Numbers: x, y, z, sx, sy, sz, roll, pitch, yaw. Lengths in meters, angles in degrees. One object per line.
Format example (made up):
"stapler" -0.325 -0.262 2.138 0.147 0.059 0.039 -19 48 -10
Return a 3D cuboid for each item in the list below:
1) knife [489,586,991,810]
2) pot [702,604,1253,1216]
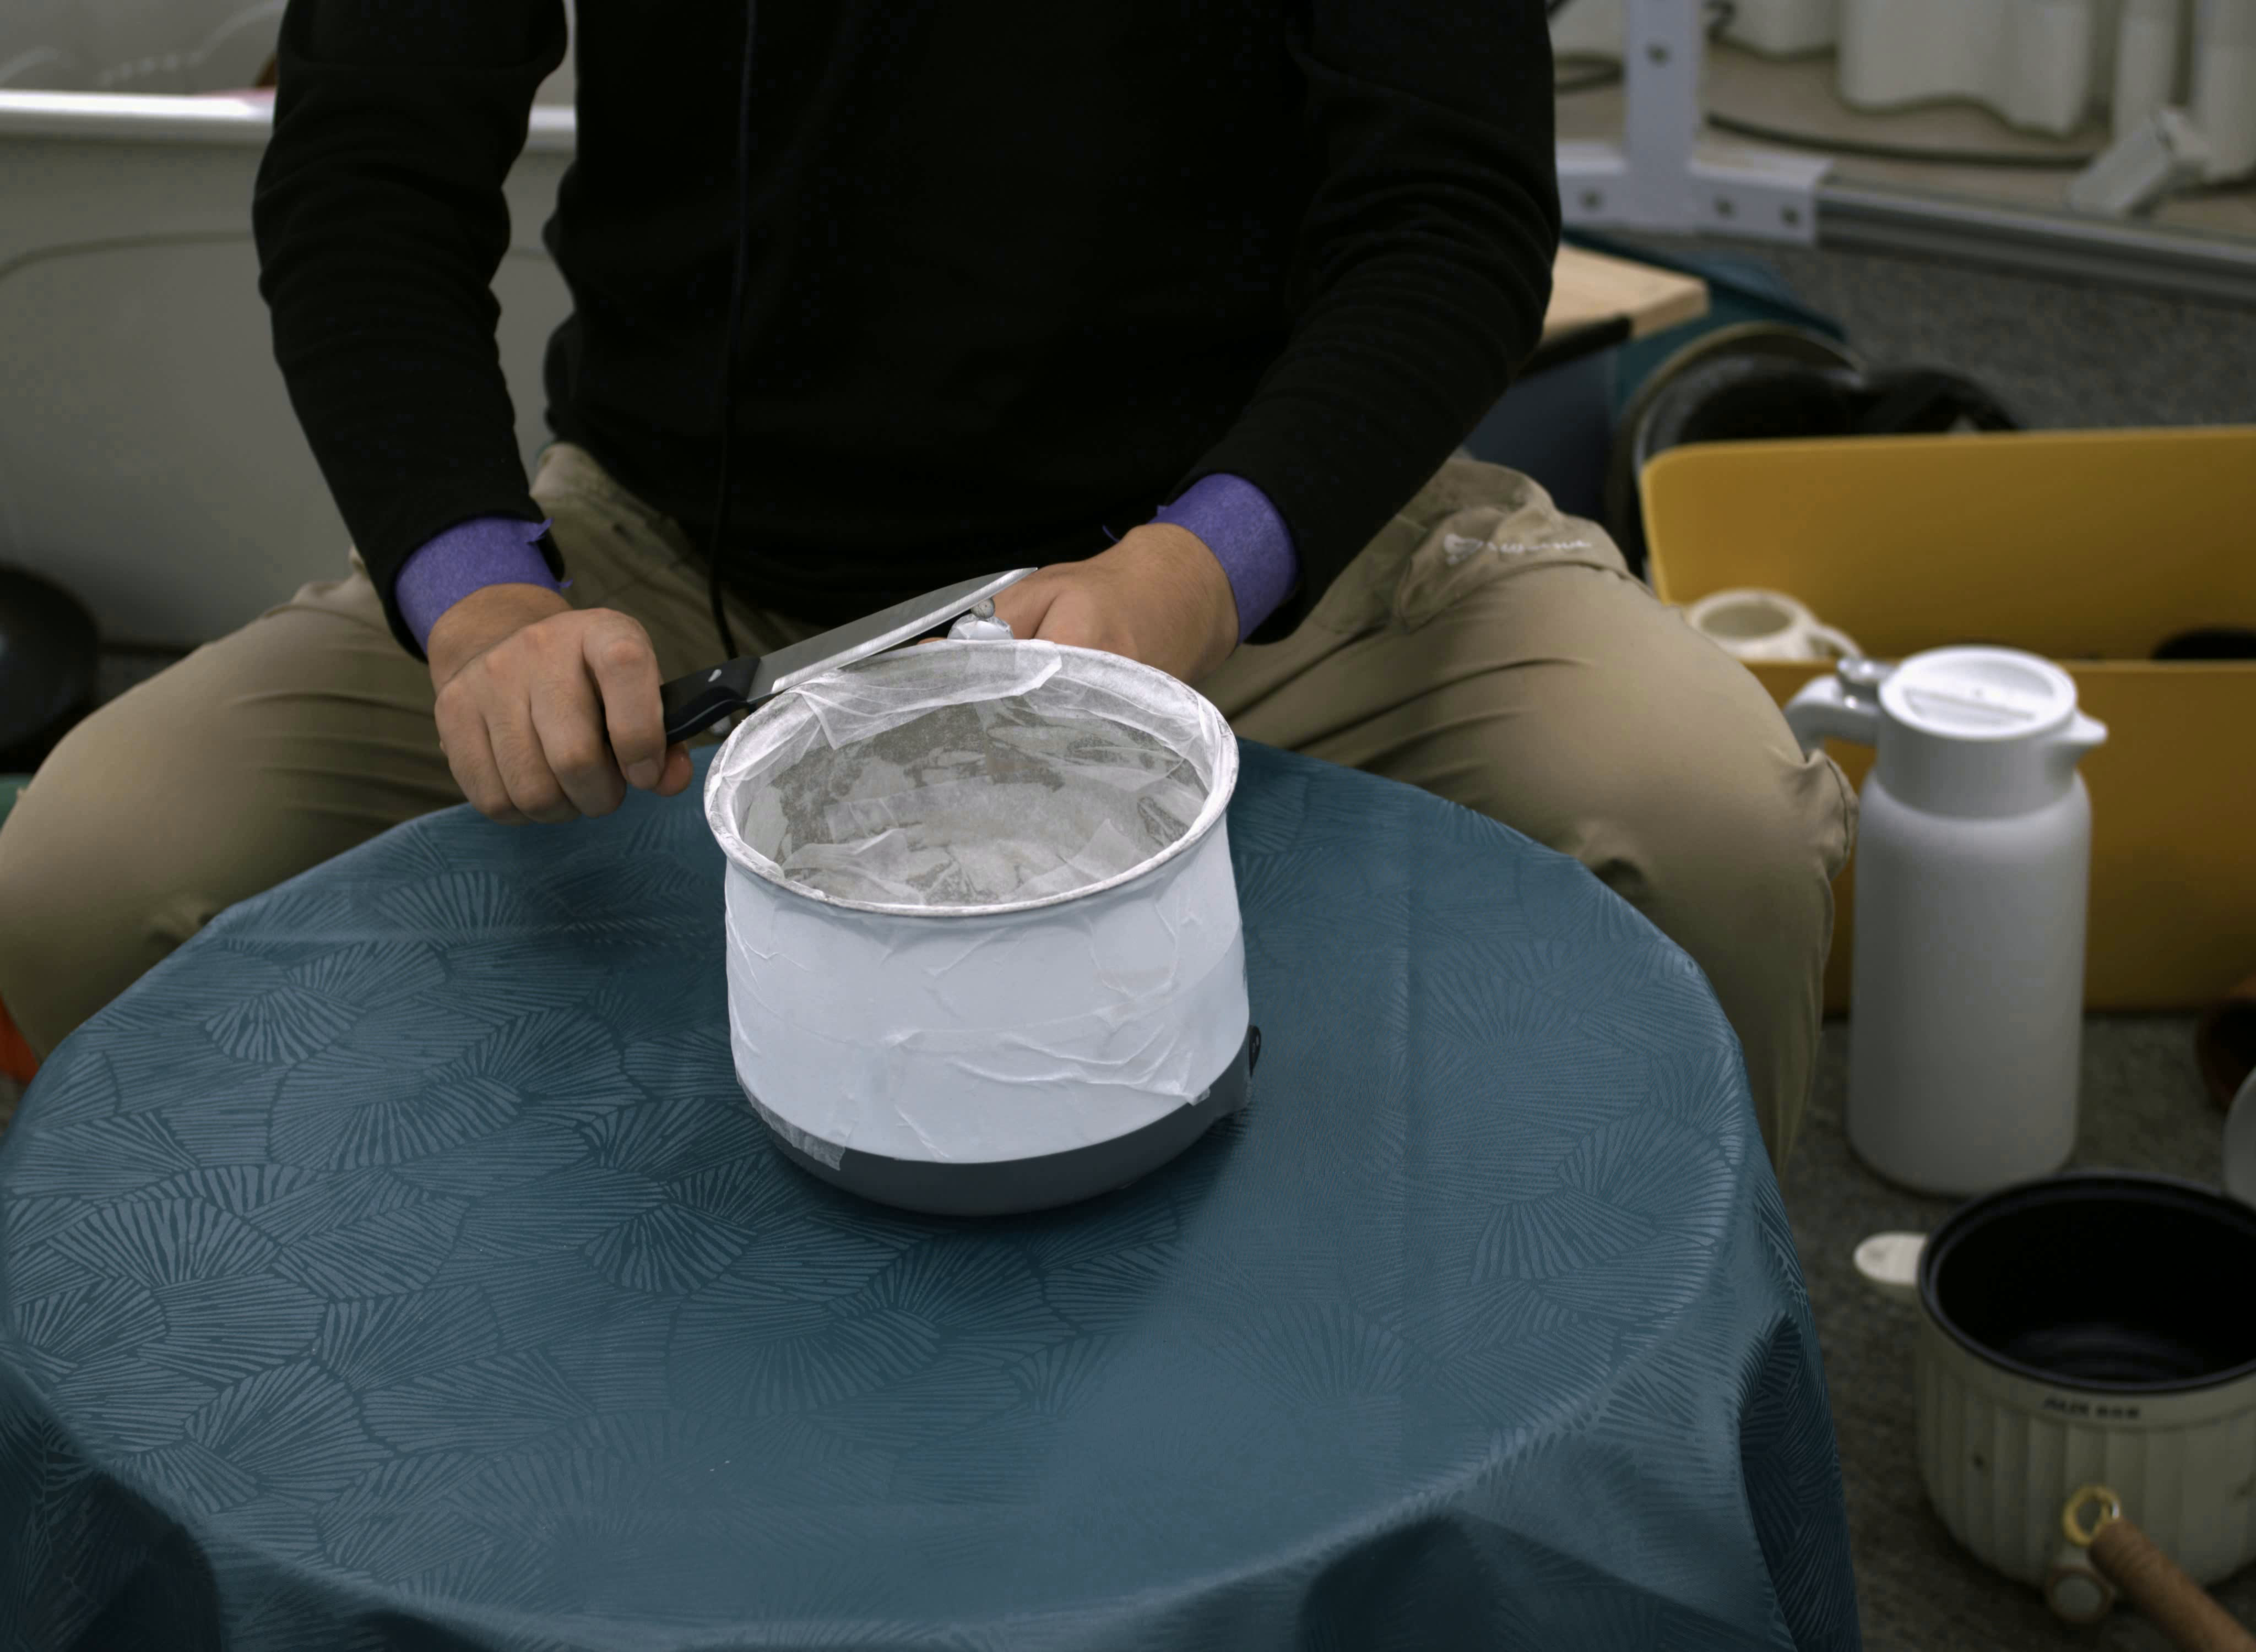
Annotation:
"knife" -0.134 -0.047 1.936 0.235 0.016 0.025 -21 40 36
"pot" -0.049 0.020 1.900 0.178 0.135 0.237 -2 31 0
